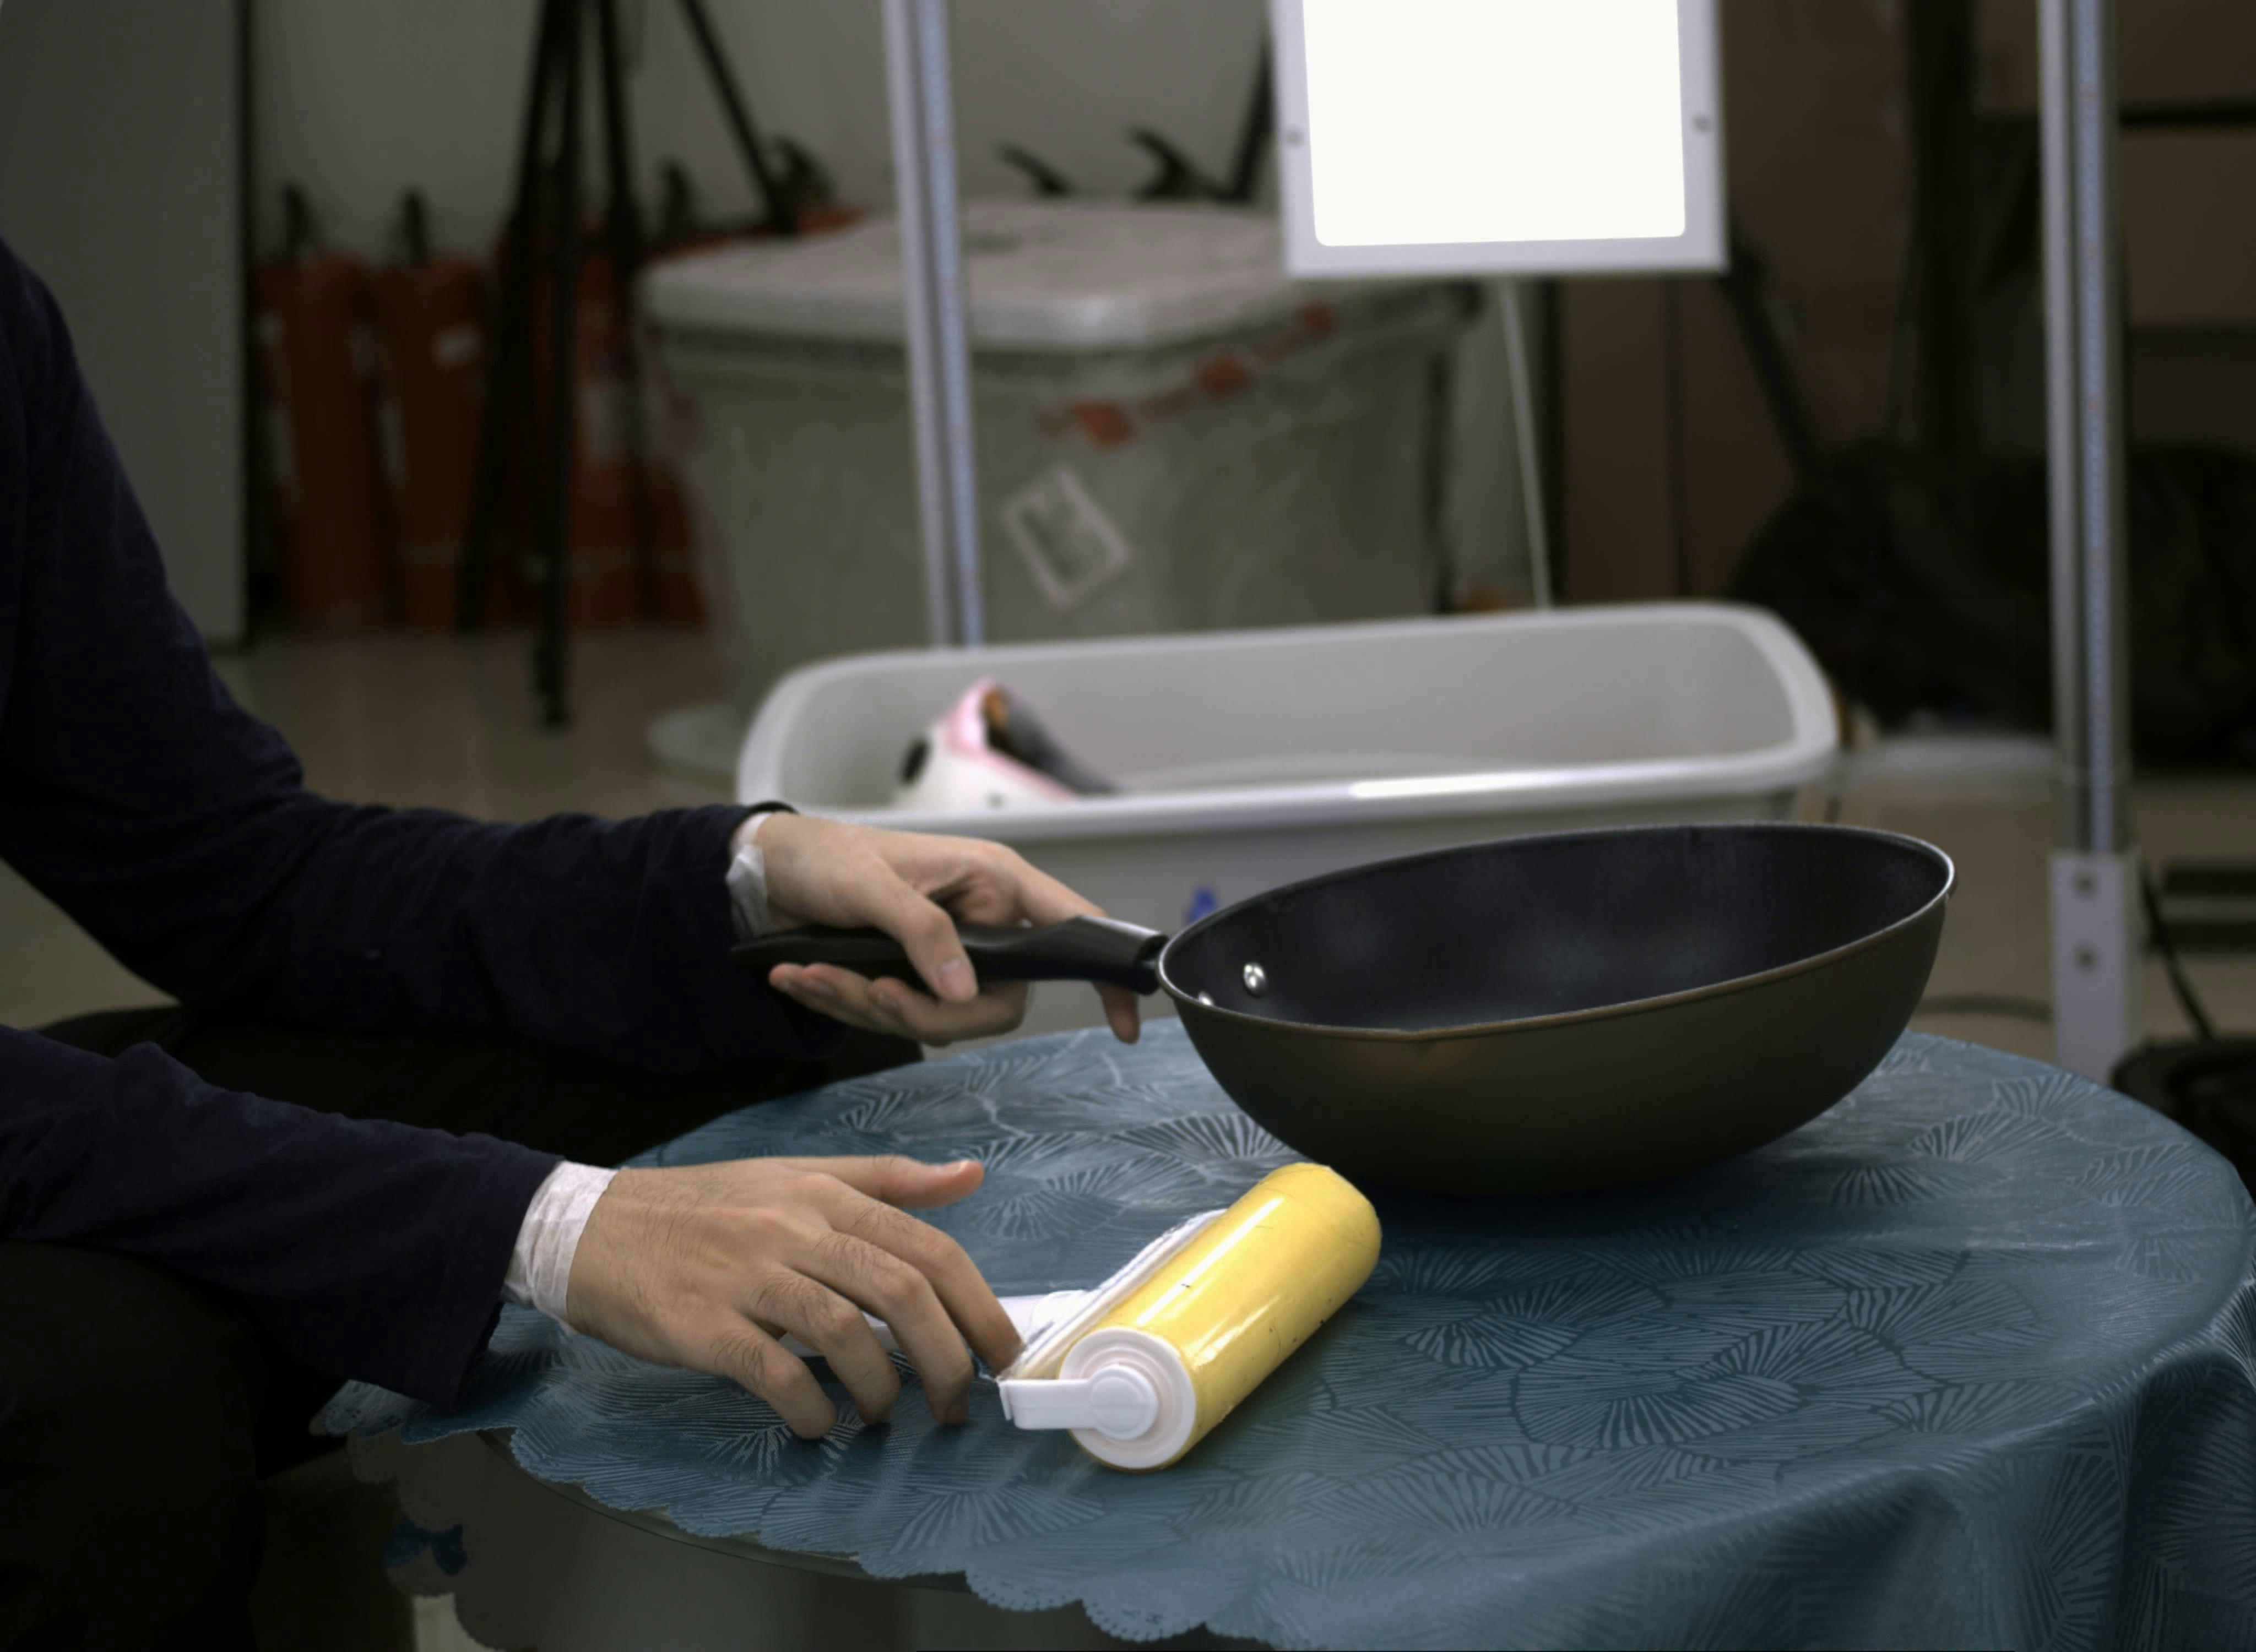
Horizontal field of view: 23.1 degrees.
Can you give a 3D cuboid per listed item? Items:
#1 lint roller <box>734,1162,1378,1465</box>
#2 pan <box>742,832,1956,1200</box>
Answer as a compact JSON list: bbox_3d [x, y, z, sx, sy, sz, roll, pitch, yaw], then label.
[{"bbox_3d":[-0.038,0.150,1.724,0.195,0.051,0.171,0,14,24],"label":"lint roller"},{"bbox_3d":[0.069,0.072,1.937,0.471,0.087,0.282,-2,12,28],"label":"pan"}]
